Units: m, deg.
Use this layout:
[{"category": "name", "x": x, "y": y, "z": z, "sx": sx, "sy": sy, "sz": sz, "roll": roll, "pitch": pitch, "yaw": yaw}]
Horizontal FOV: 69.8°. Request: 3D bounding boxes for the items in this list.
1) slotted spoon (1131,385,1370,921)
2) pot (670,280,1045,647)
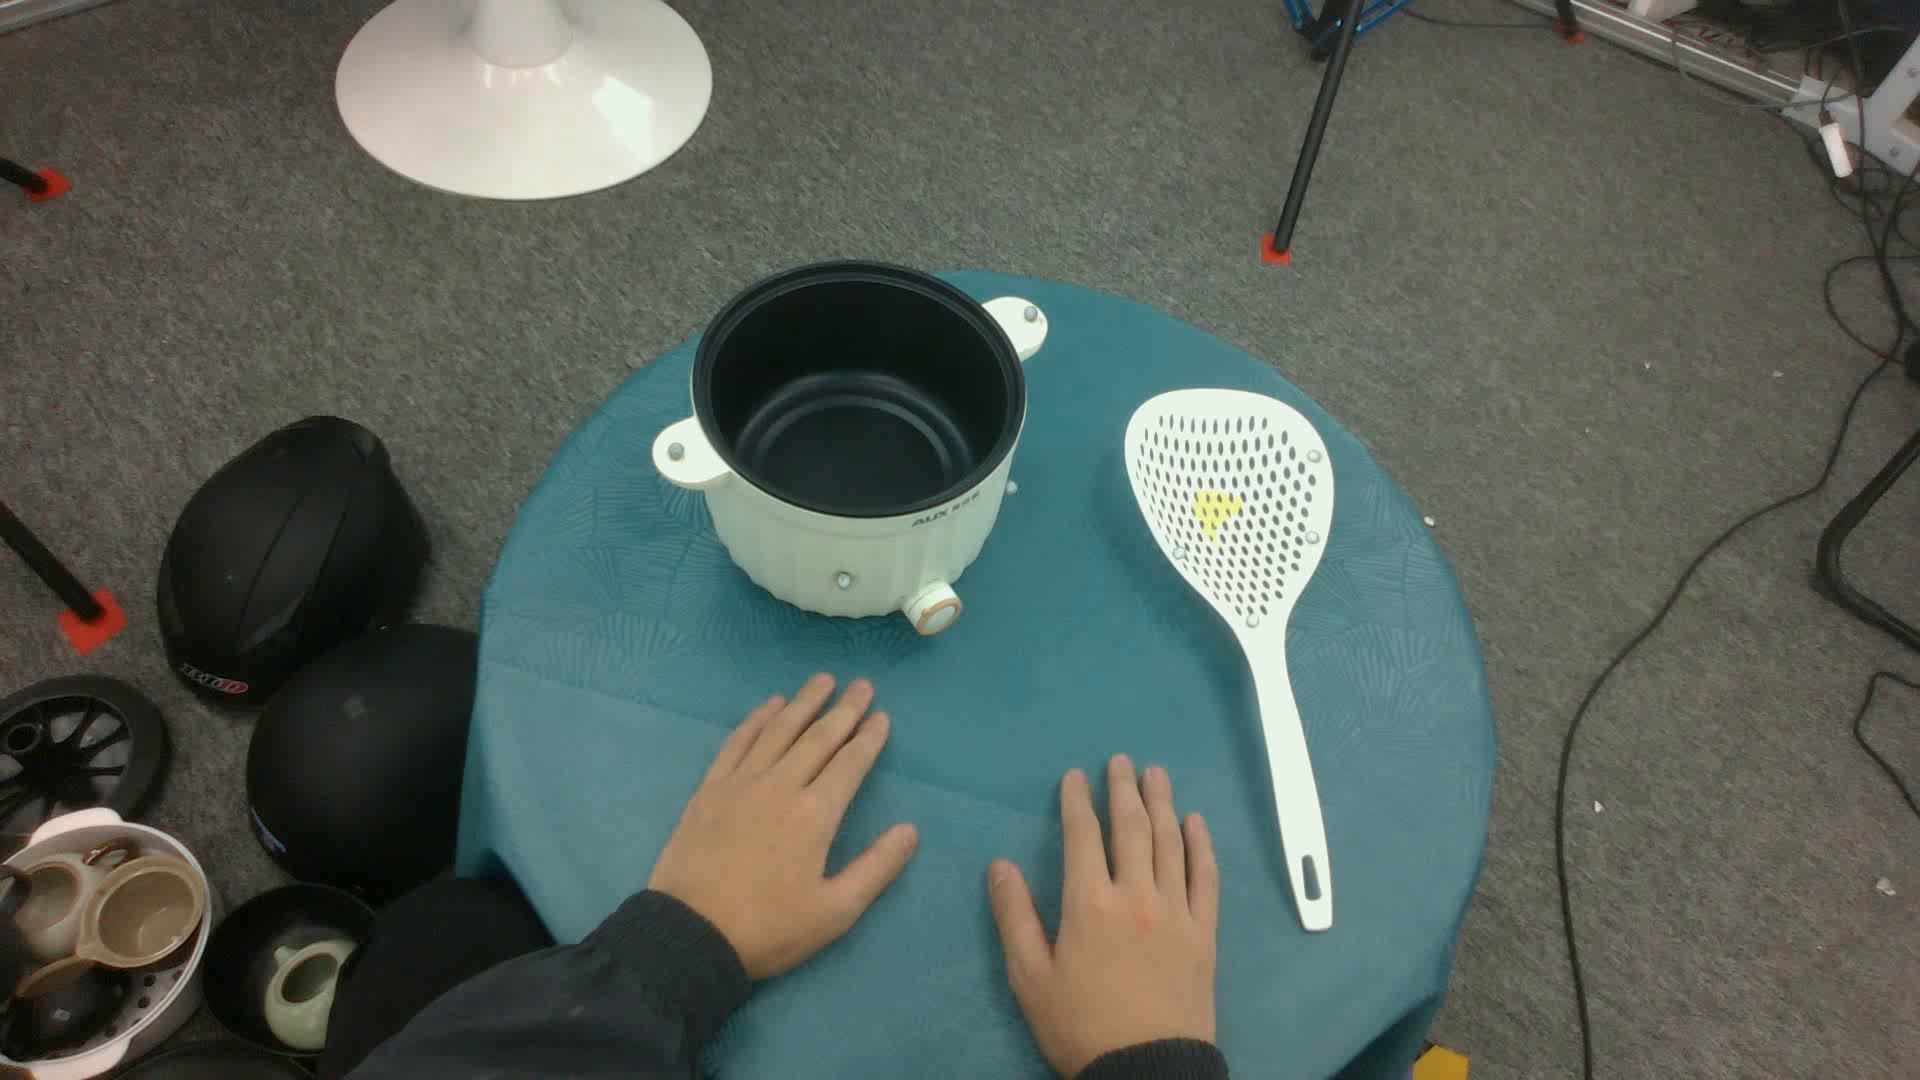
[{"category": "slotted spoon", "x": 0.189, "y": 0.052, "z": 0.827, "sx": 0.137, "sy": 0.050, "sz": 0.349, "roll": -3, "pitch": 55, "yaw": -9}, {"category": "pot", "x": -0.050, "y": -0.036, "z": 0.812, "sx": 0.241, "sy": 0.142, "sz": 0.191, "roll": -29, "pitch": 59, "yaw": -21}]
